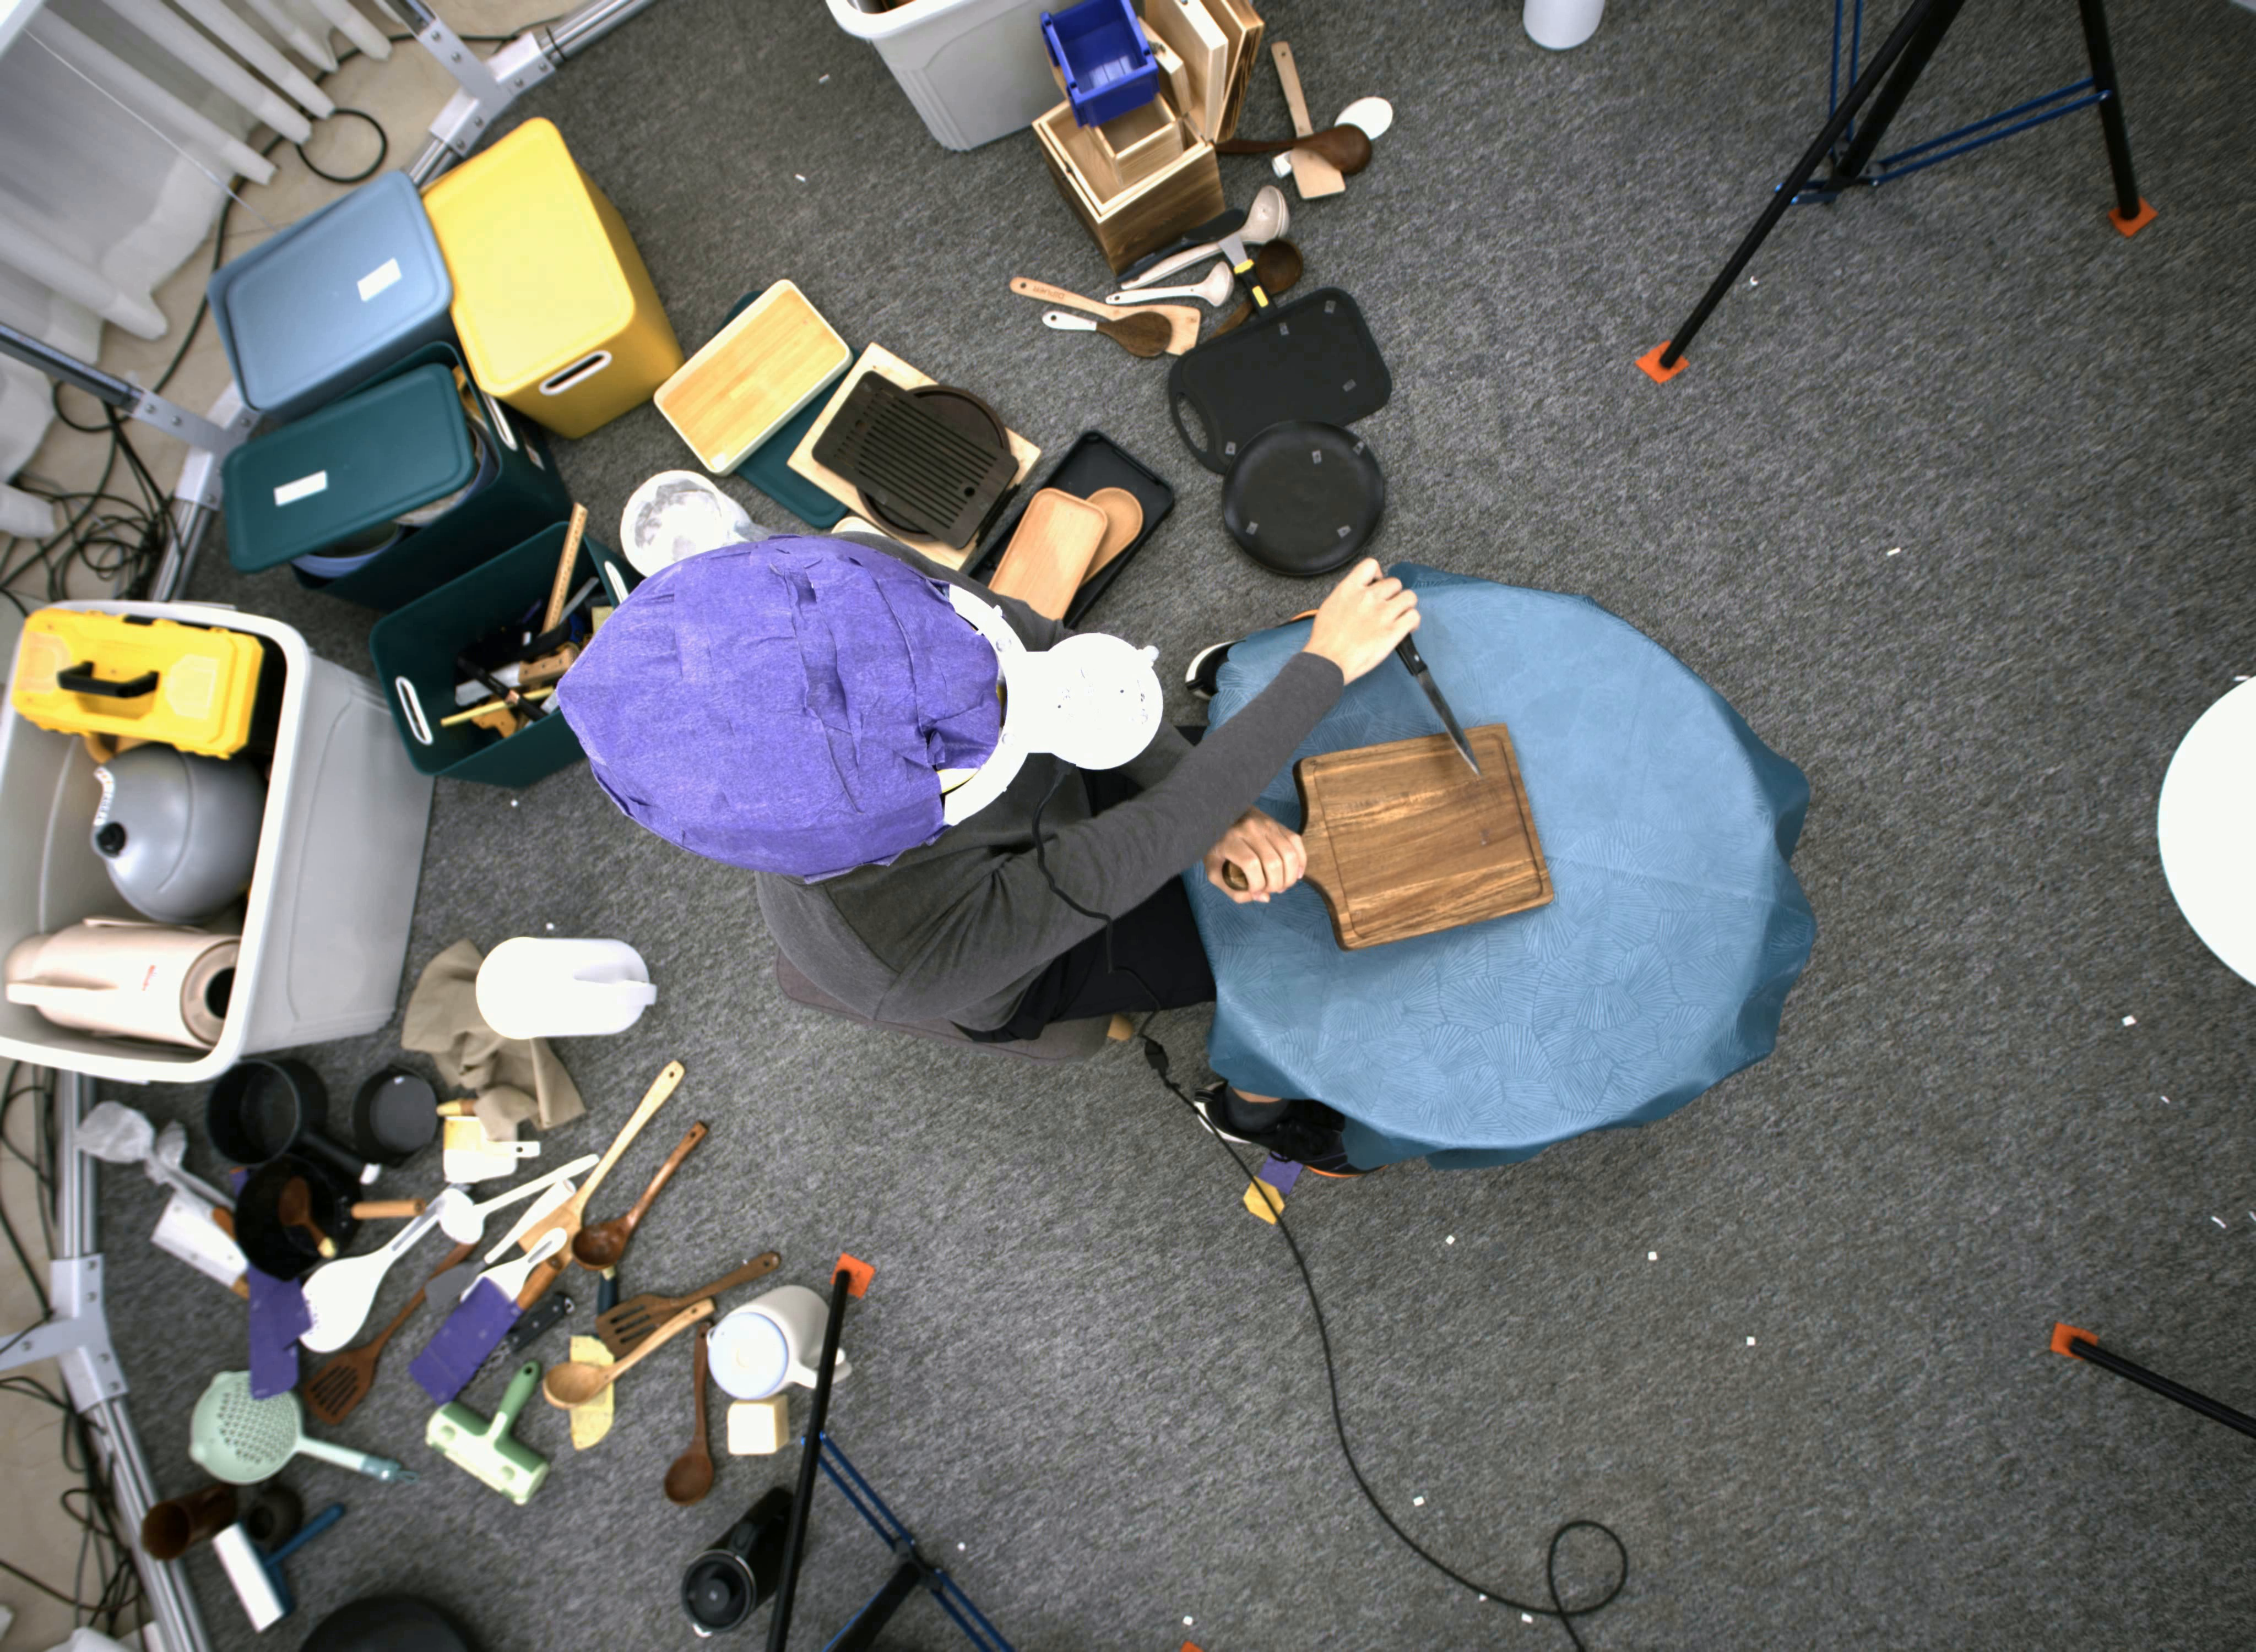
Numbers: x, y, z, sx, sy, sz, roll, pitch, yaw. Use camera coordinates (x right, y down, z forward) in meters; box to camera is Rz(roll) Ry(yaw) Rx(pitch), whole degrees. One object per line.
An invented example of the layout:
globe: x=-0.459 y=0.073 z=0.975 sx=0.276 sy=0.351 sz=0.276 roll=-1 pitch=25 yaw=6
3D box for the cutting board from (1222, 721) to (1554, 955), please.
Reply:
cutting board: x=0.254 y=0.015 z=1.374 sx=0.350 sy=0.023 sz=0.200 roll=-12 pitch=84 yaw=-18

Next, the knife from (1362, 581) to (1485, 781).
knife: x=0.303 y=-0.150 z=1.405 sx=0.024 sy=0.016 sz=0.237 roll=-25 pitch=83 yaw=-32
